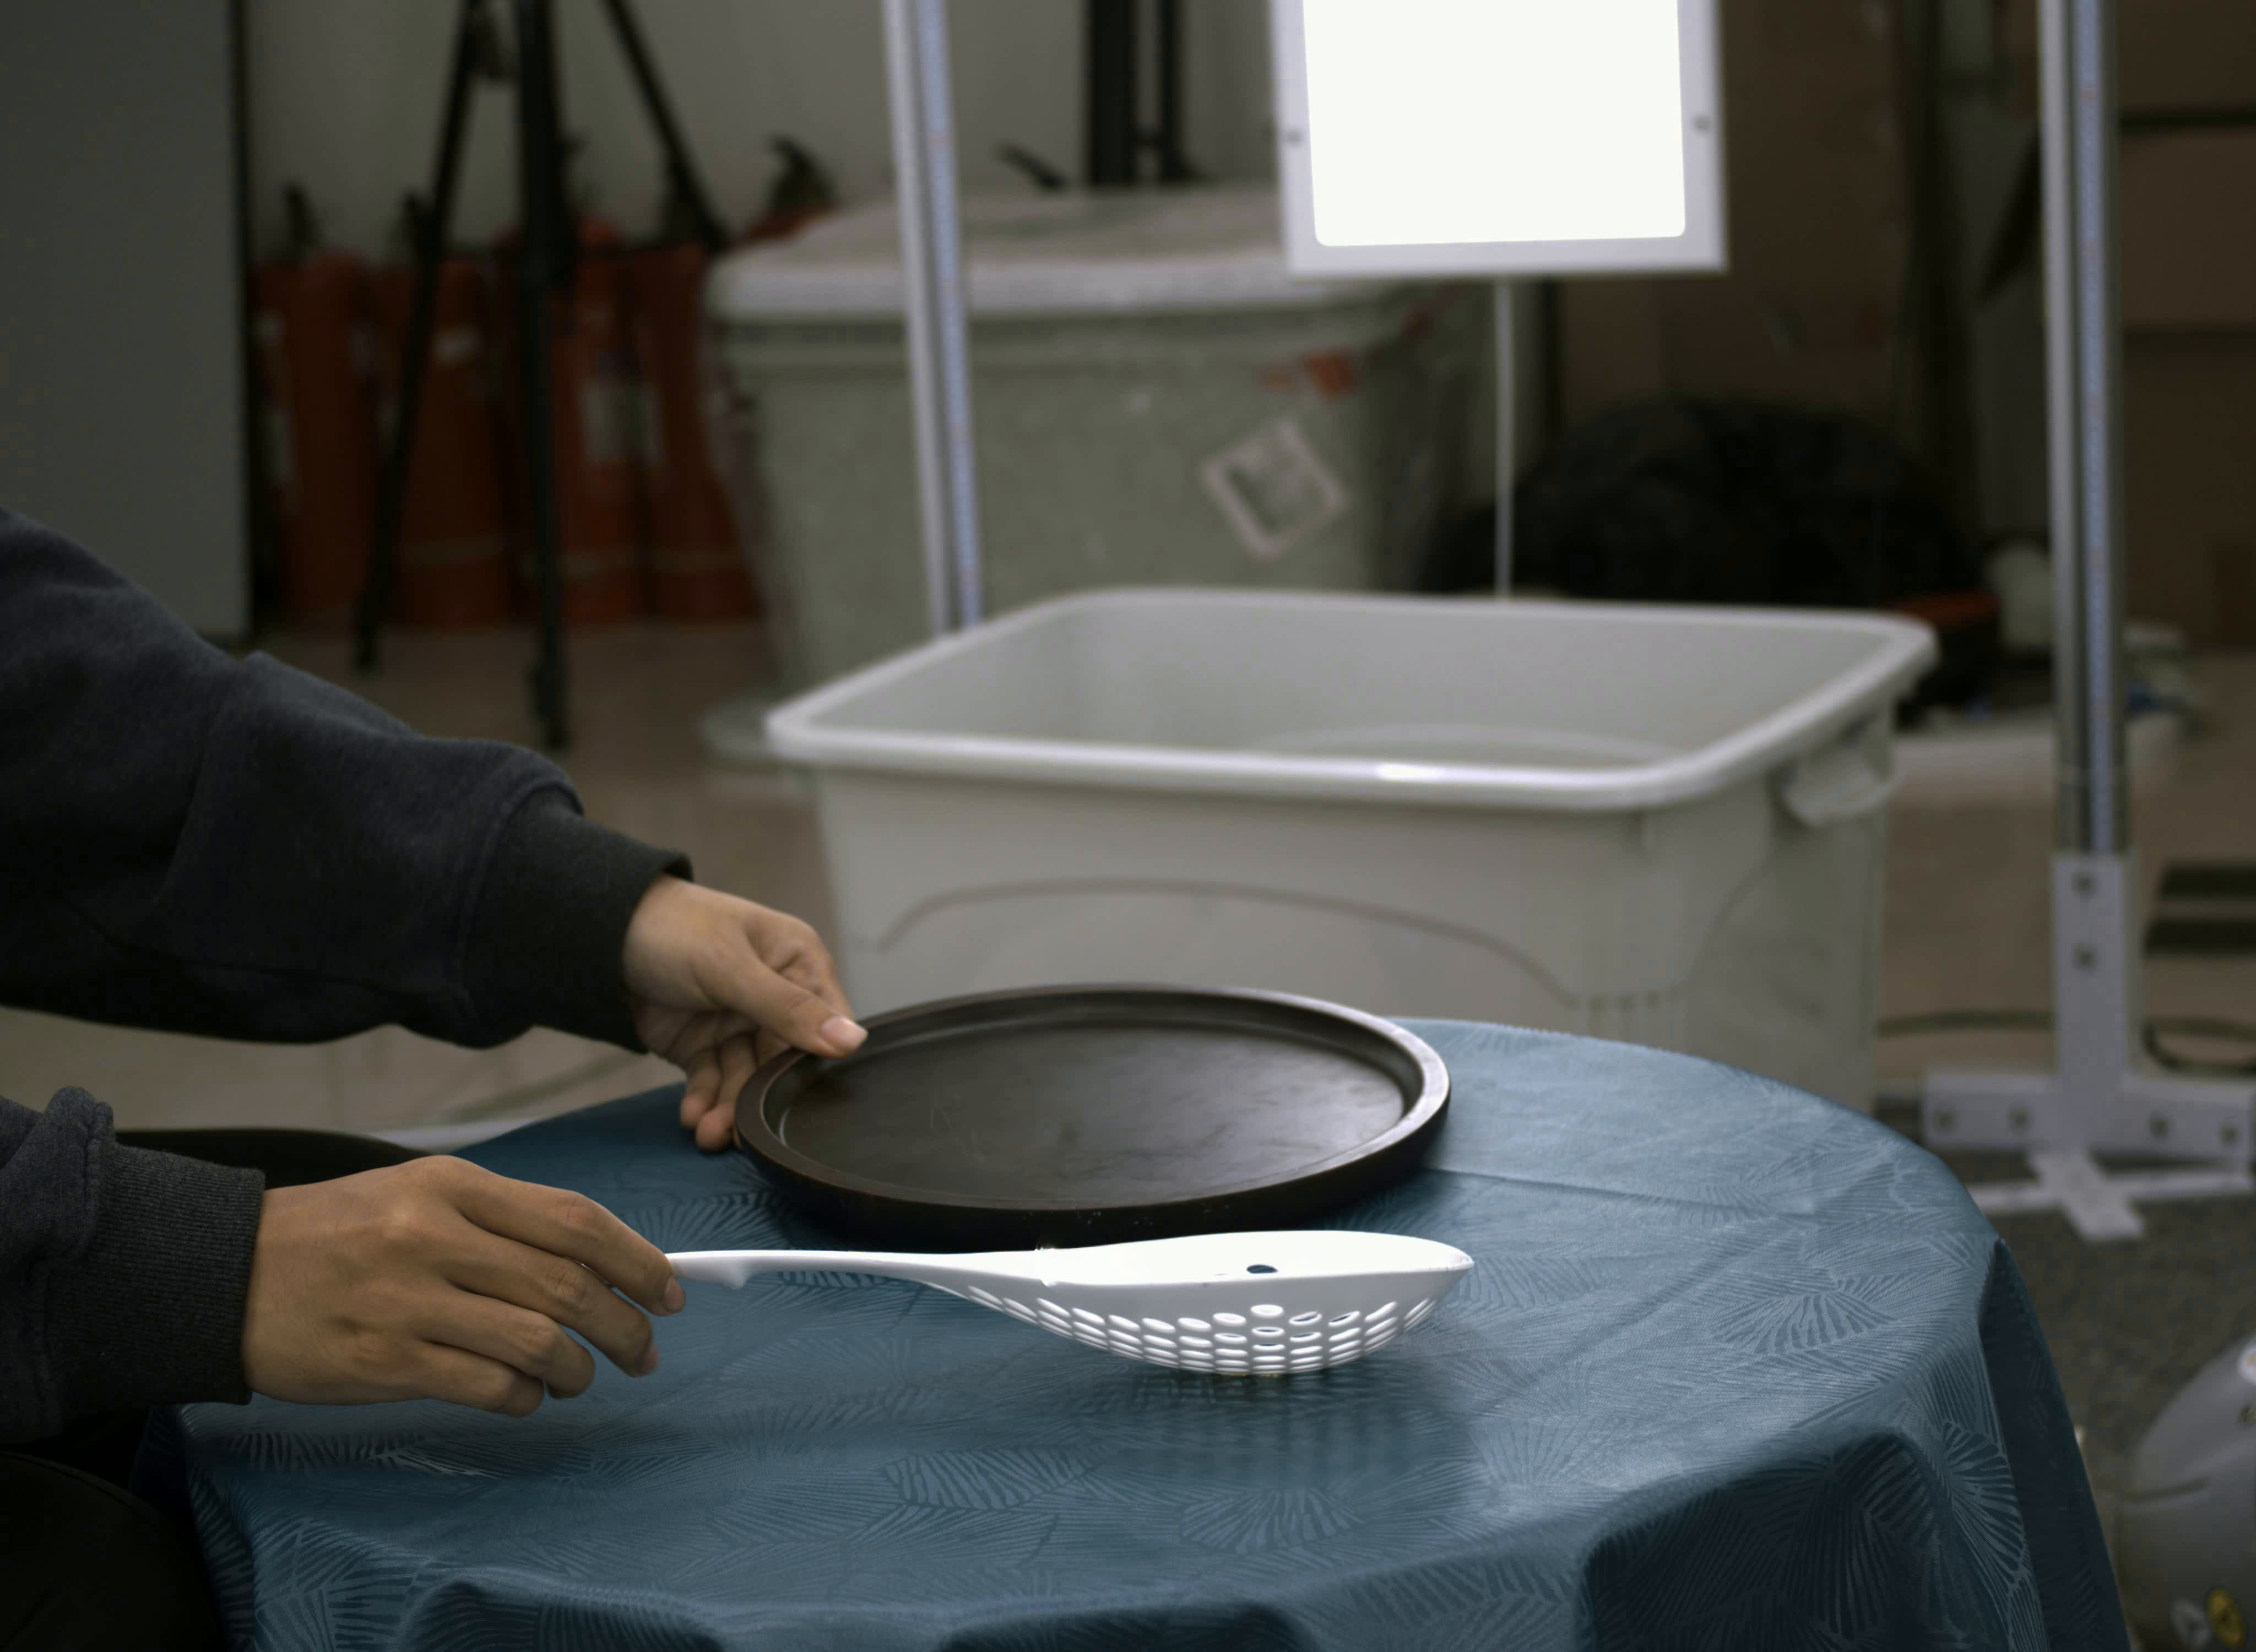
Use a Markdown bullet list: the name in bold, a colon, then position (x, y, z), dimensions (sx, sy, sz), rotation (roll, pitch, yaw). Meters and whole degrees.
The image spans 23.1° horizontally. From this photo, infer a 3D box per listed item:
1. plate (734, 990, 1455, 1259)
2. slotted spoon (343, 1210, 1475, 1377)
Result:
- **plate**: position (-0.012, 0.102, 1.932), dimensions (0.254, 0.029, 0.254), rotation (-3, 17, 0)
- **slotted spoon**: position (-0.067, 0.144, 1.701), dimensions (0.347, 0.050, 0.136), rotation (3, 3, 1)
